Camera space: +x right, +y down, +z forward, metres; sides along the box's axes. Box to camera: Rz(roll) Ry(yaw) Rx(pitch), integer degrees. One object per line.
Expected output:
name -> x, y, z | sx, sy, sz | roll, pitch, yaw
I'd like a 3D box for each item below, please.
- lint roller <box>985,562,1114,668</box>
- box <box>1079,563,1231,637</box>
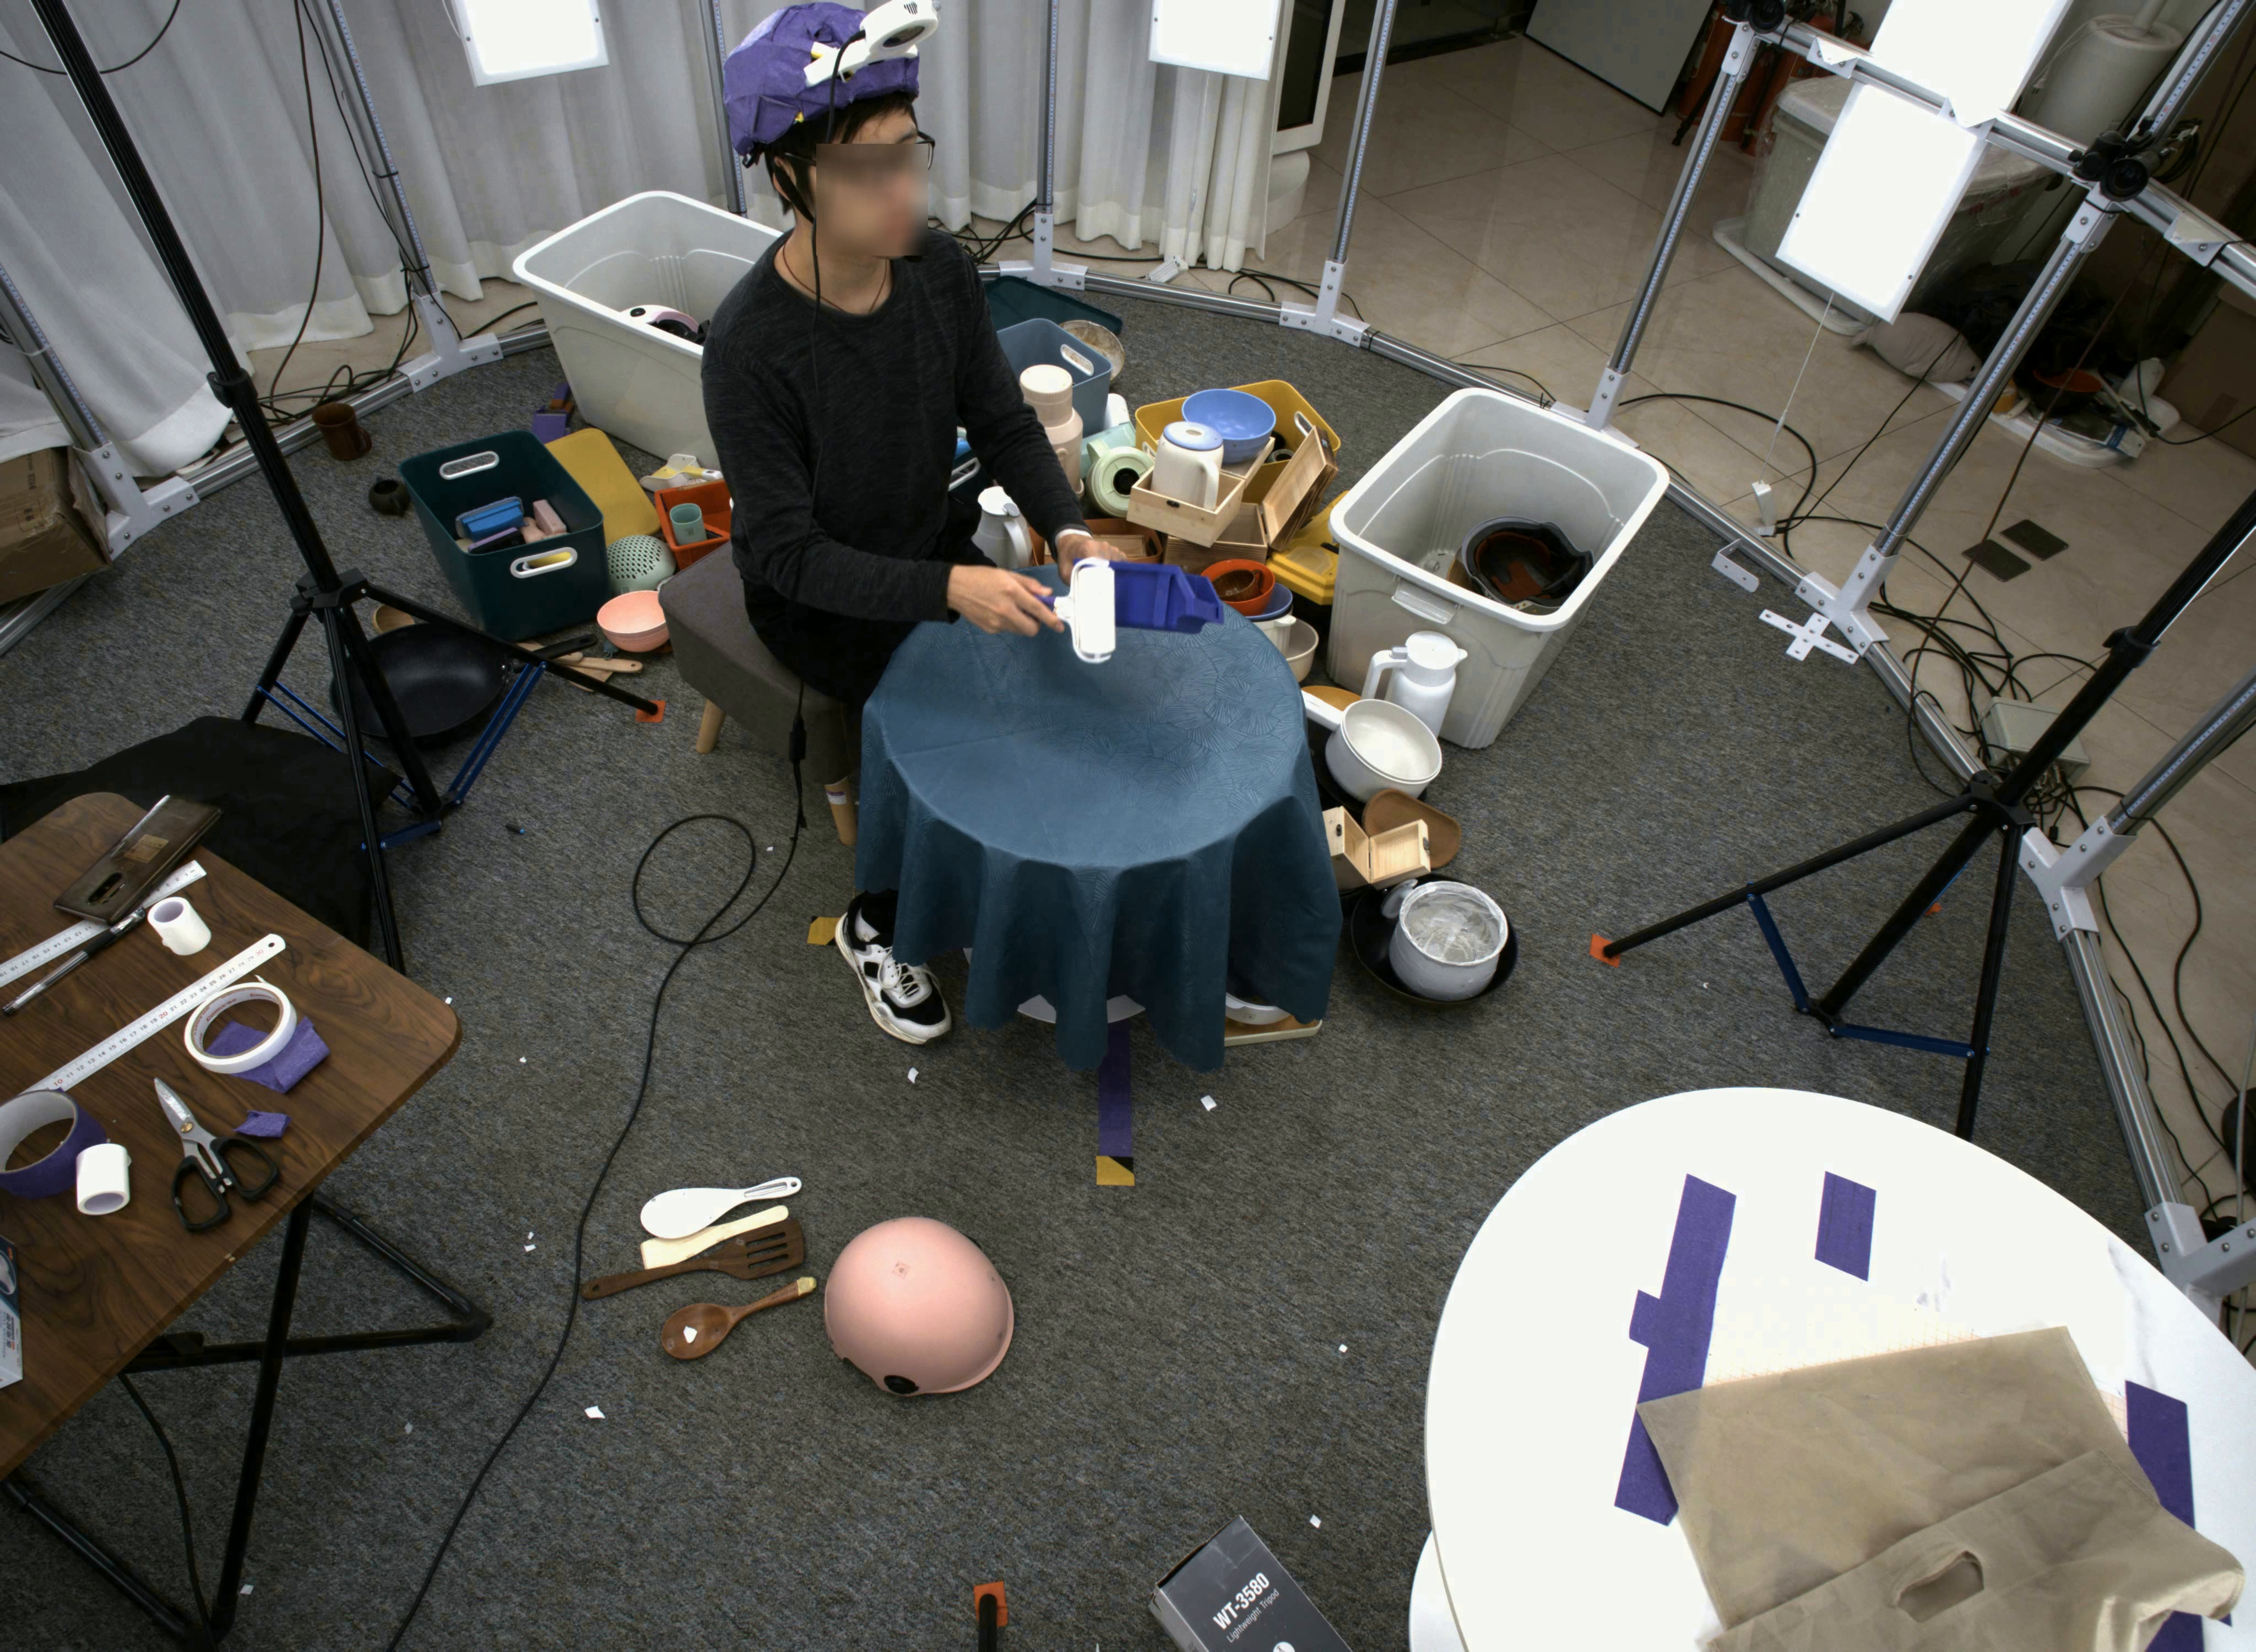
lint roller -> -0.105, -0.275, 1.653 | 0.181, 0.131, 0.051 | 6, 20, 15
box -> 0.038, -0.303, 1.732 | 0.180, 0.081, 0.124 | 7, 5, 24
